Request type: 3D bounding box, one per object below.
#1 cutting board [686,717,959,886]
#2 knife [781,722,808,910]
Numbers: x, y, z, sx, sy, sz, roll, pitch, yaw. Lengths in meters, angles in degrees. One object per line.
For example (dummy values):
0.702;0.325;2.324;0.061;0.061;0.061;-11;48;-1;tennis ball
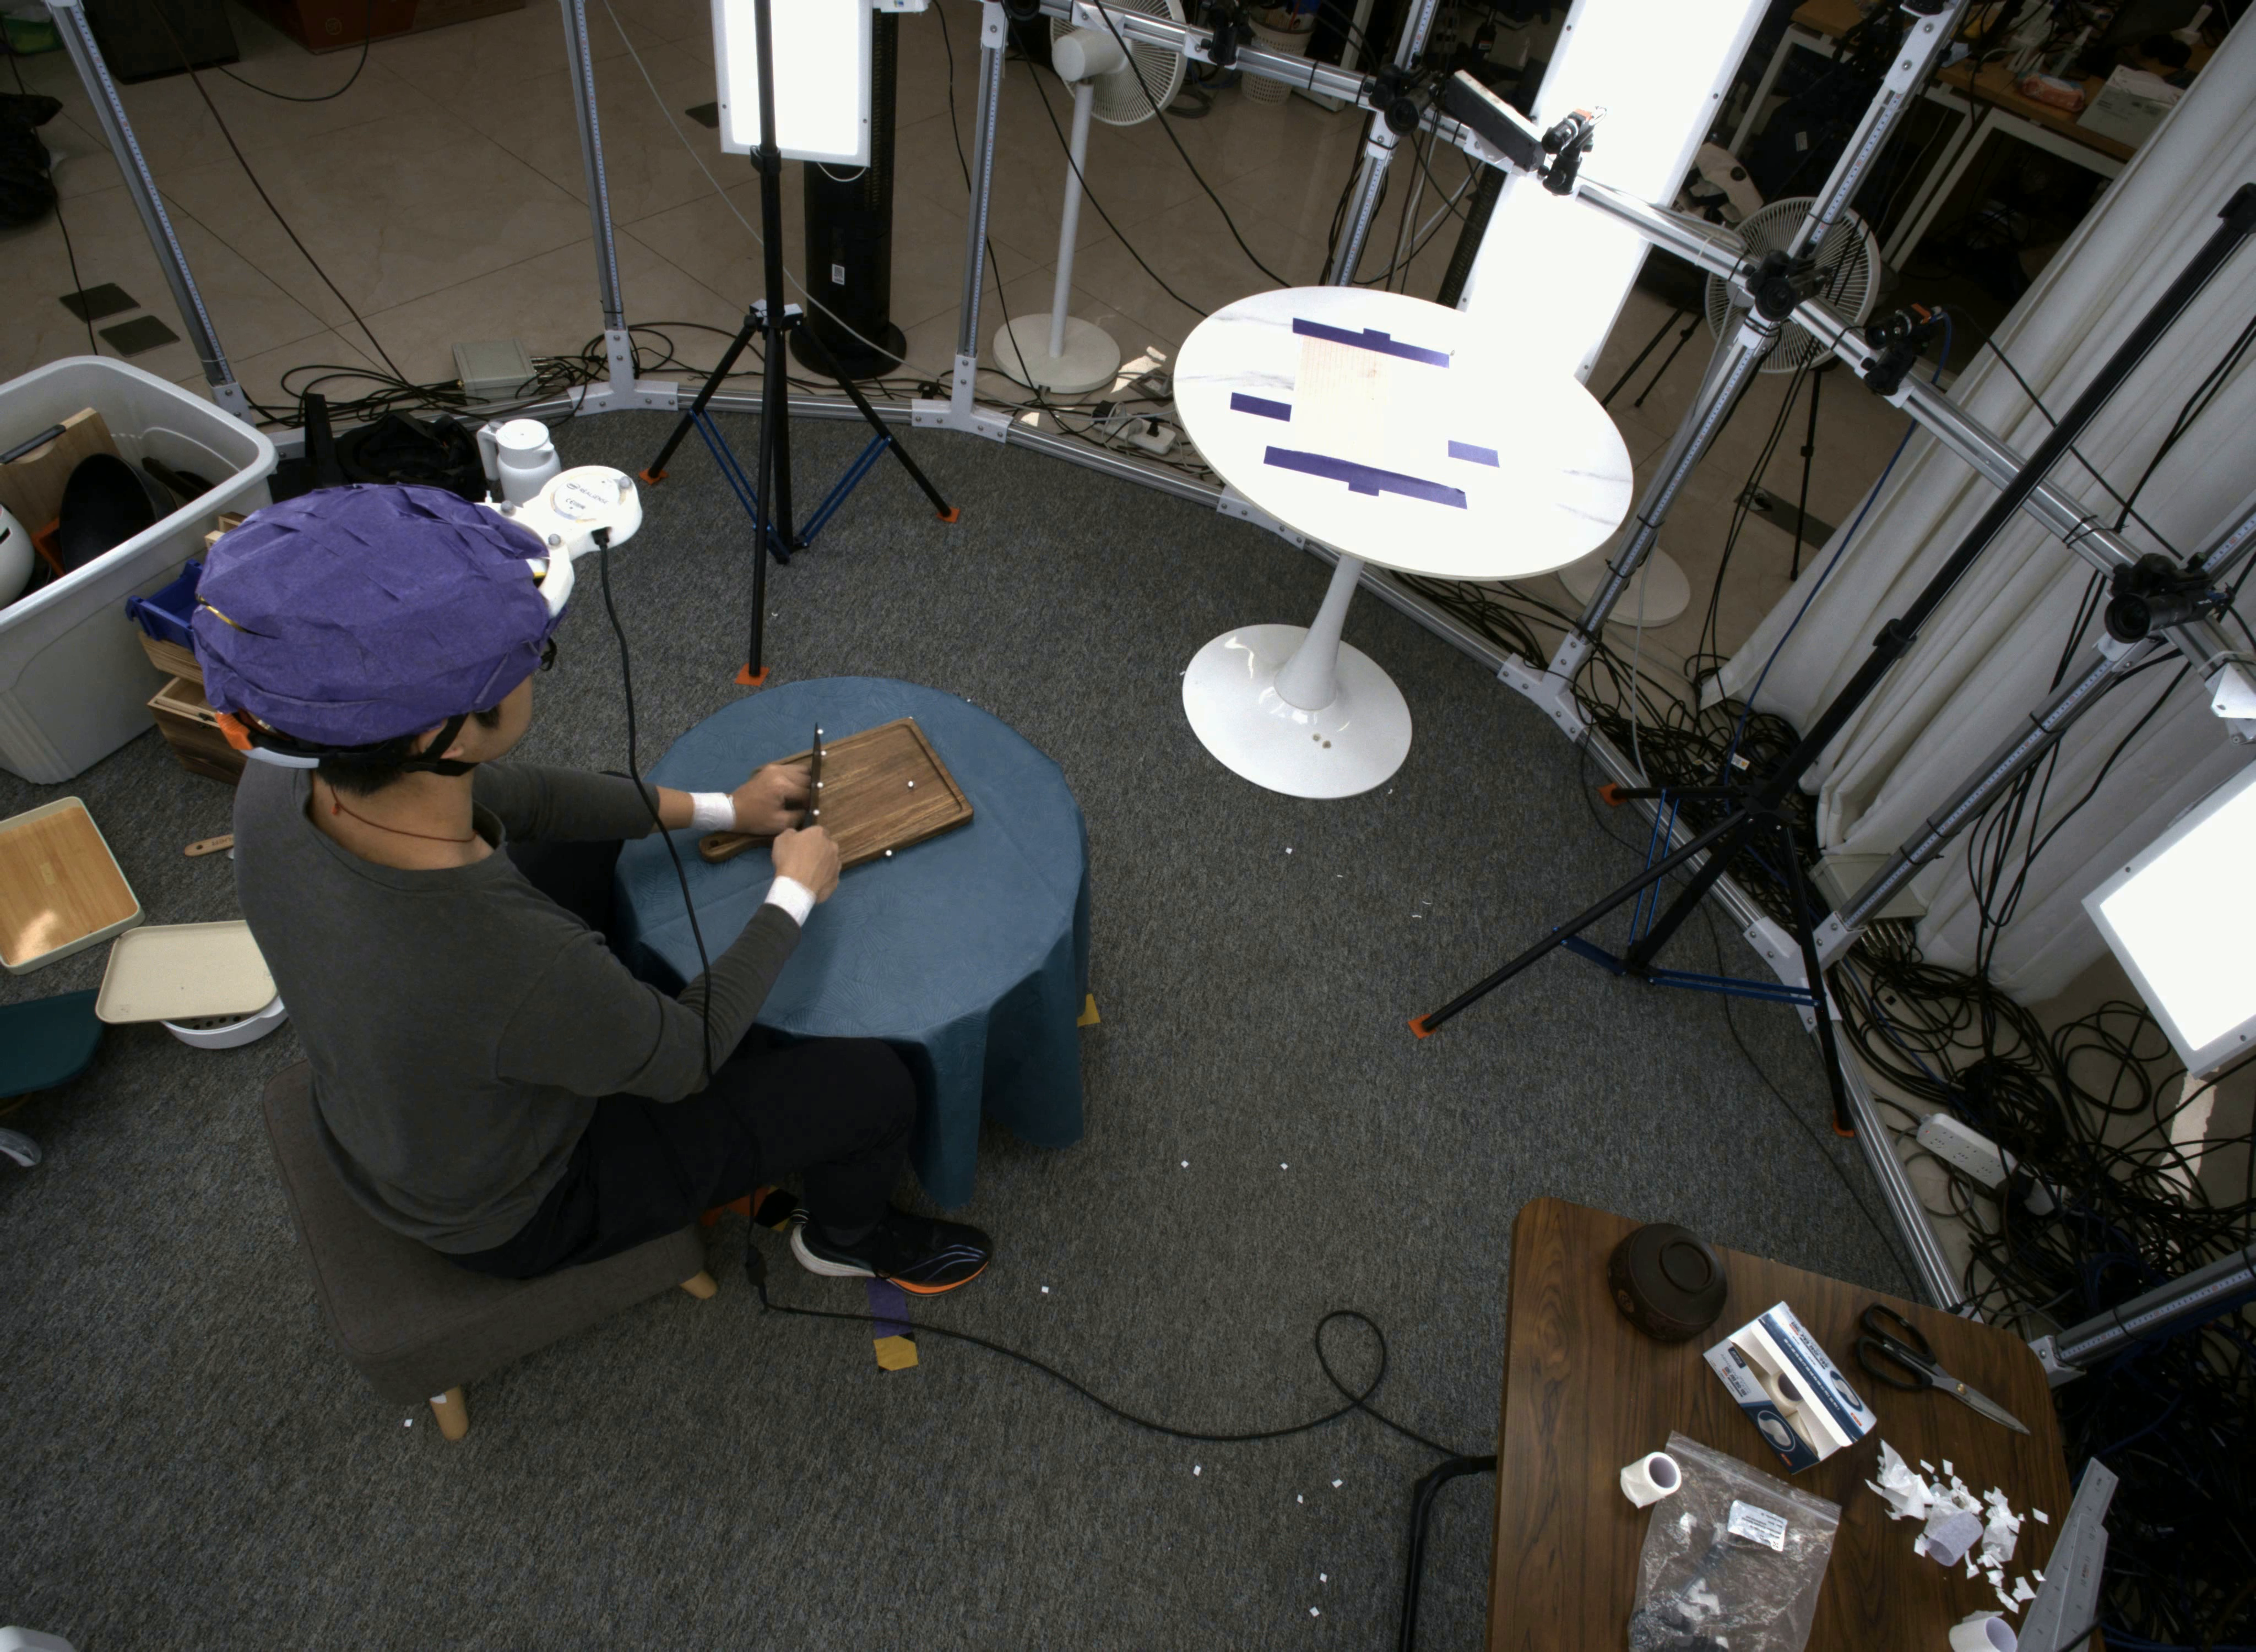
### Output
-0.423;-0.023;1.738;0.354;0.023;0.196;-24;62;-28;cutting board
-0.424;-0.012;1.663;0.021;0.083;0.294;-4;45;-5;knife
